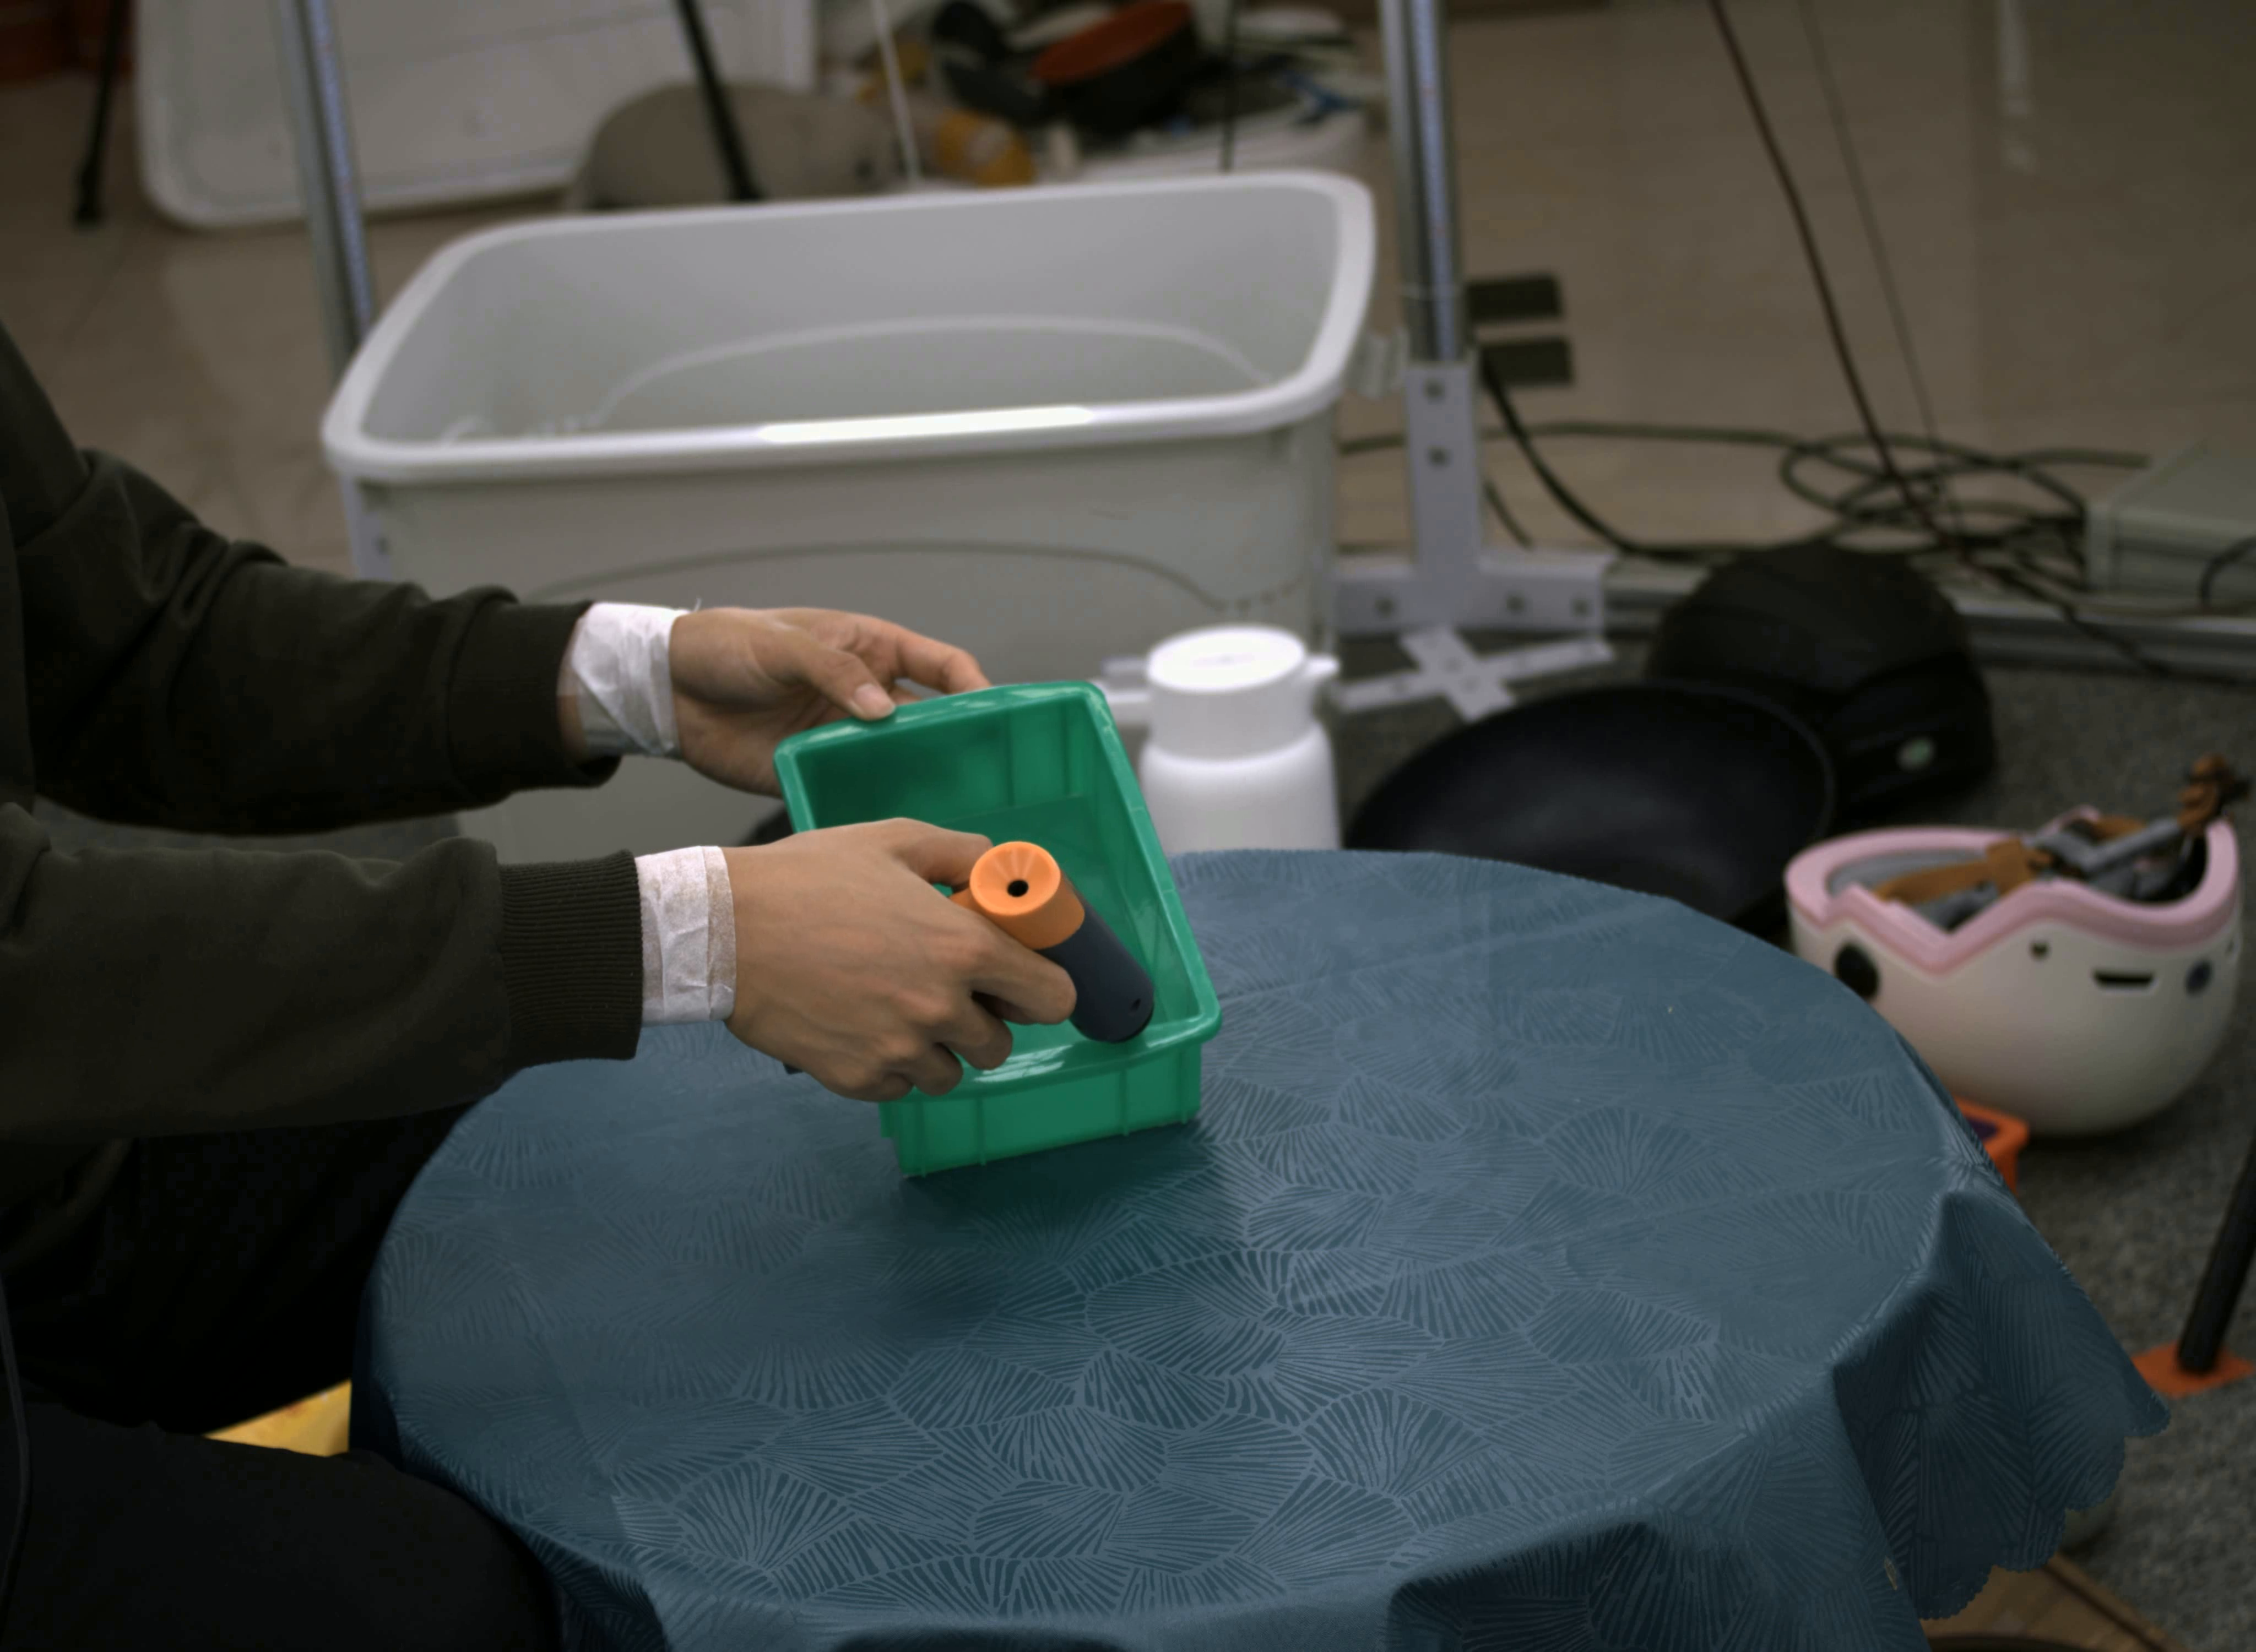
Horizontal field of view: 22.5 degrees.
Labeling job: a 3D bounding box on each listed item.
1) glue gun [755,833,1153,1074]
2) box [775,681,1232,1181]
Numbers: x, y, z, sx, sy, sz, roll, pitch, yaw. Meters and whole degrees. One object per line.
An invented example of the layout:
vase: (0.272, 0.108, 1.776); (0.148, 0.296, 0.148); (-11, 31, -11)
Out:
glue gun: (-0.063, 0.055, 2.098); (0.139, 0.120, 0.040); (-8, 51, 1)
box: (-0.050, 0.043, 2.222); (0.138, 0.066, 0.207); (-13, 50, -10)
